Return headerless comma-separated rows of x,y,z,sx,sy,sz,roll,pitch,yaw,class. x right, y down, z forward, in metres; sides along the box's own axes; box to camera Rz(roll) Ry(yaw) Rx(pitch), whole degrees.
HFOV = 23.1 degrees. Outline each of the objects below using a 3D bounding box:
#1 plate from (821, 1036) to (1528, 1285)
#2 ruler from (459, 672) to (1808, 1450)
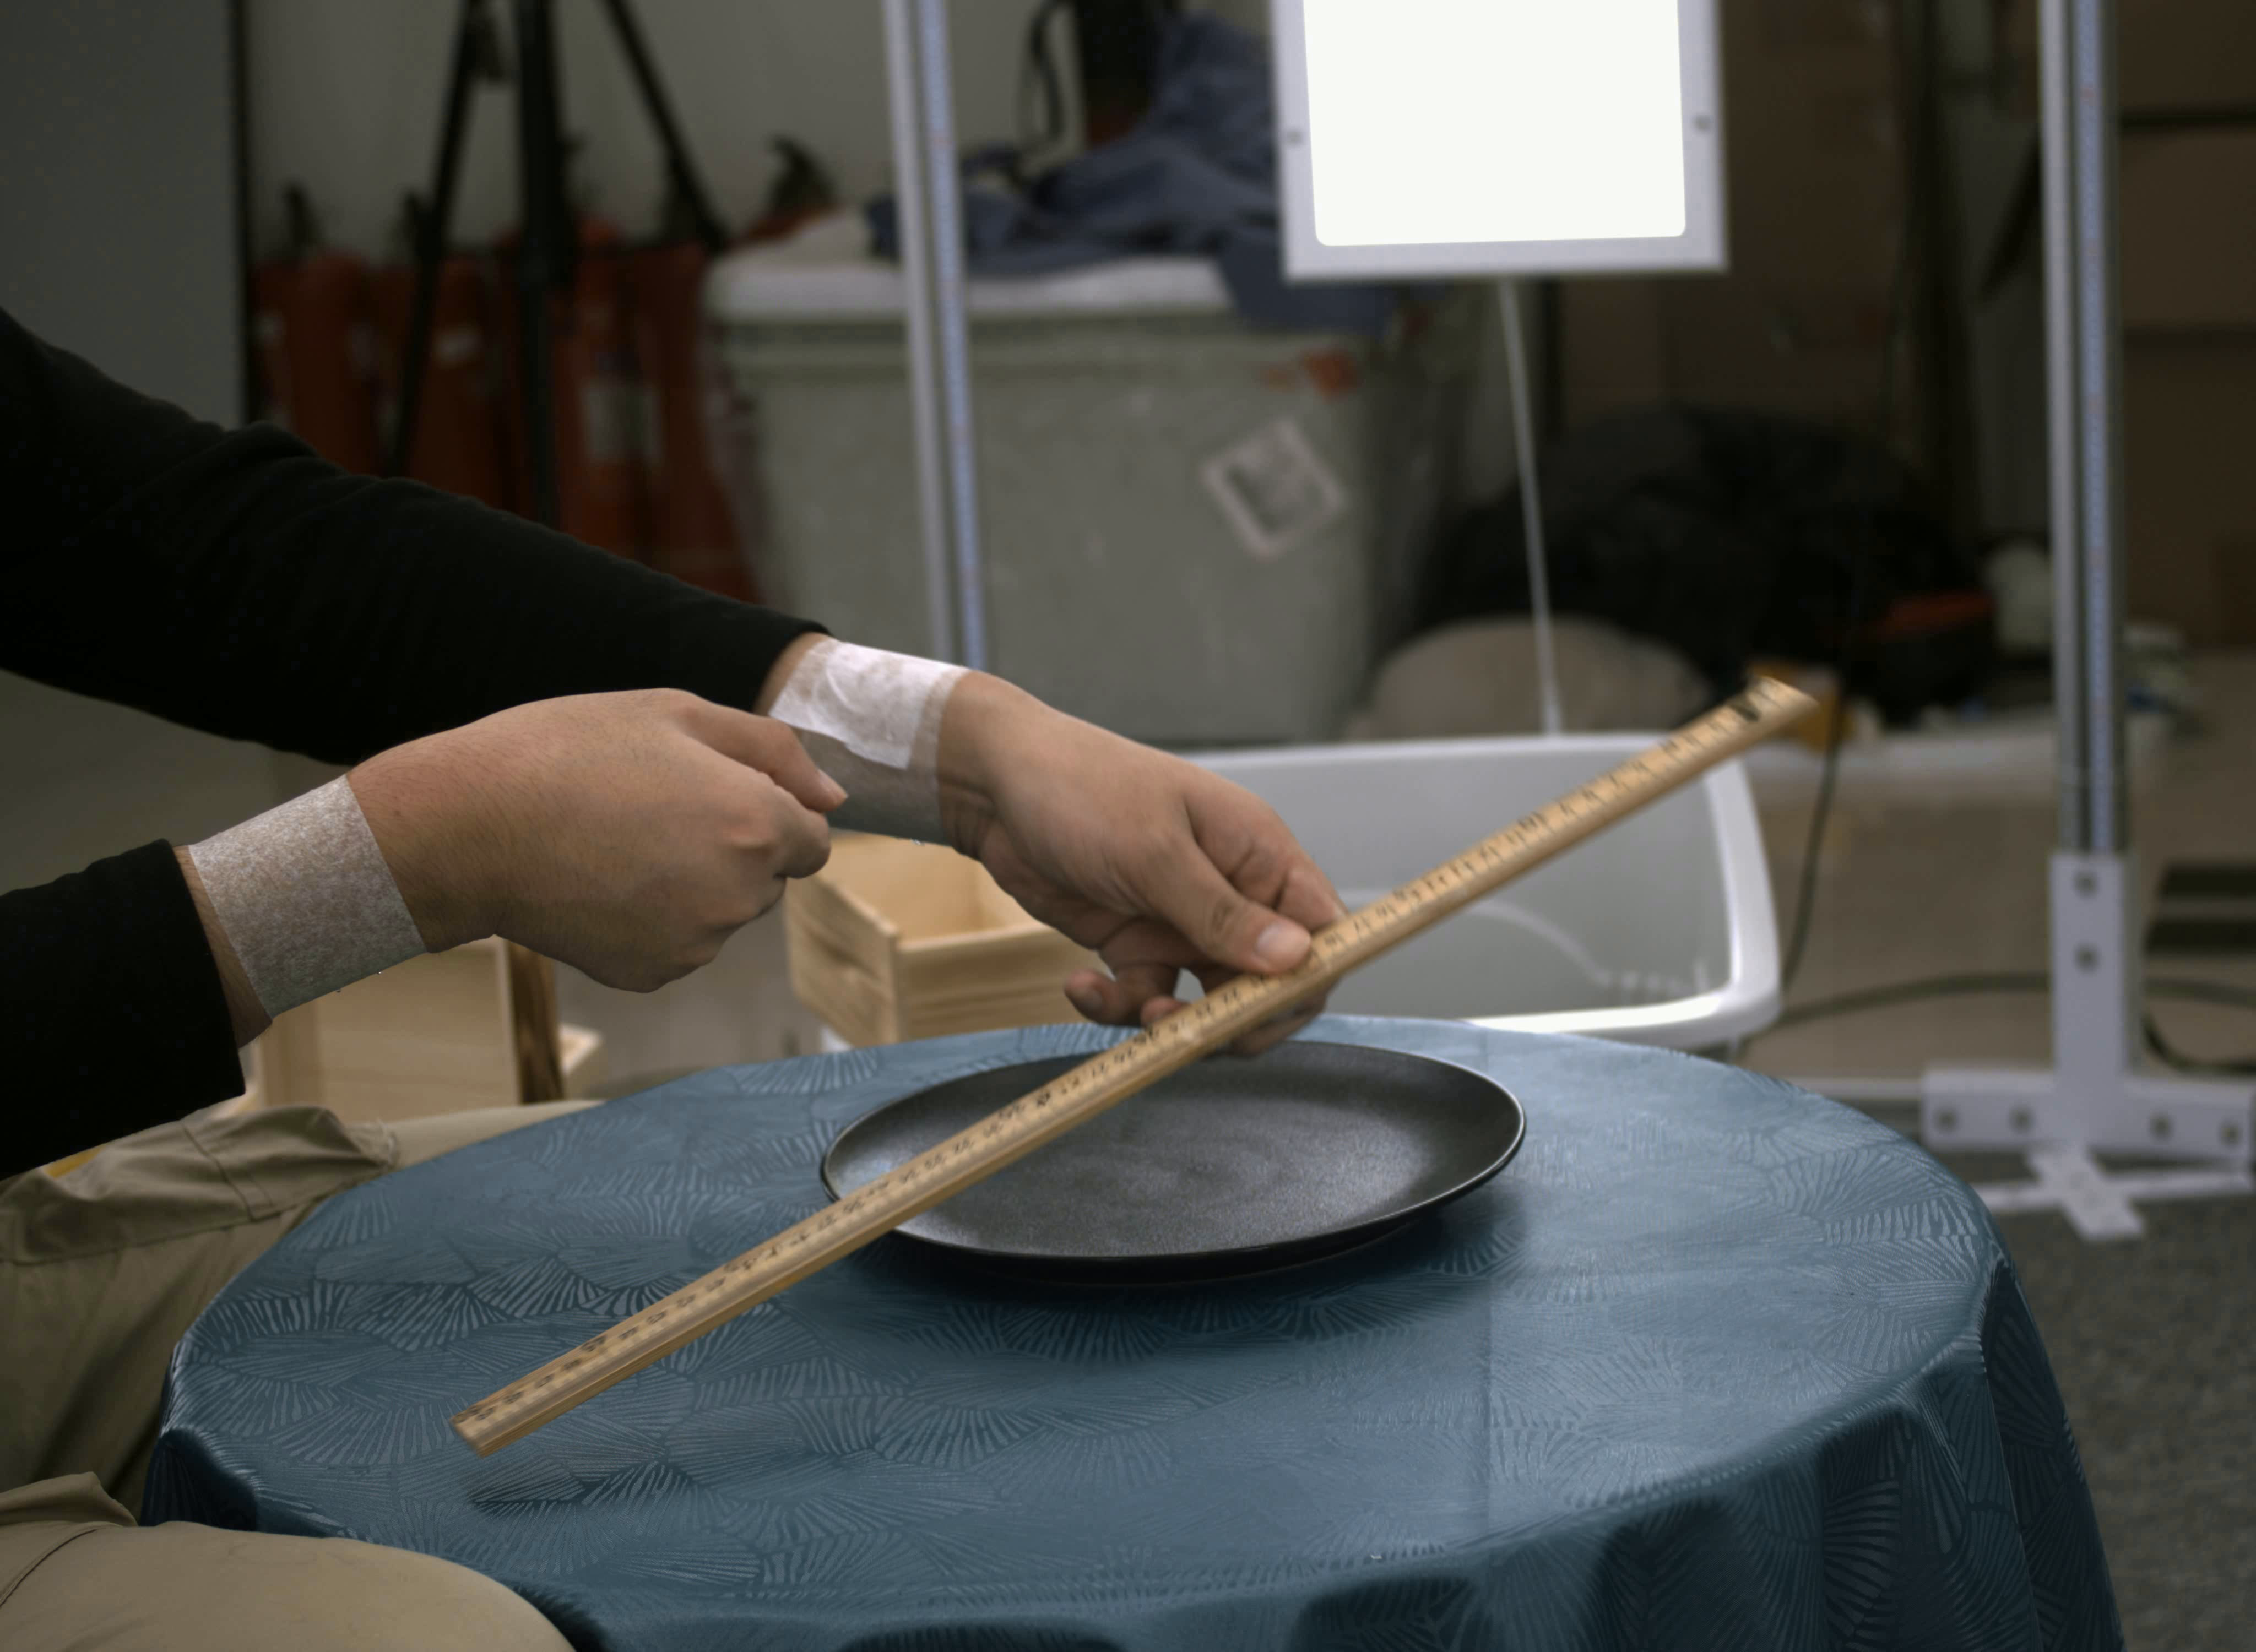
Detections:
0.016,0.117,1.882,0.244,0.023,0.244,-5,14,0,plate
0.010,0.067,1.725,0.493,0.006,0.027,-29,26,-16,ruler
